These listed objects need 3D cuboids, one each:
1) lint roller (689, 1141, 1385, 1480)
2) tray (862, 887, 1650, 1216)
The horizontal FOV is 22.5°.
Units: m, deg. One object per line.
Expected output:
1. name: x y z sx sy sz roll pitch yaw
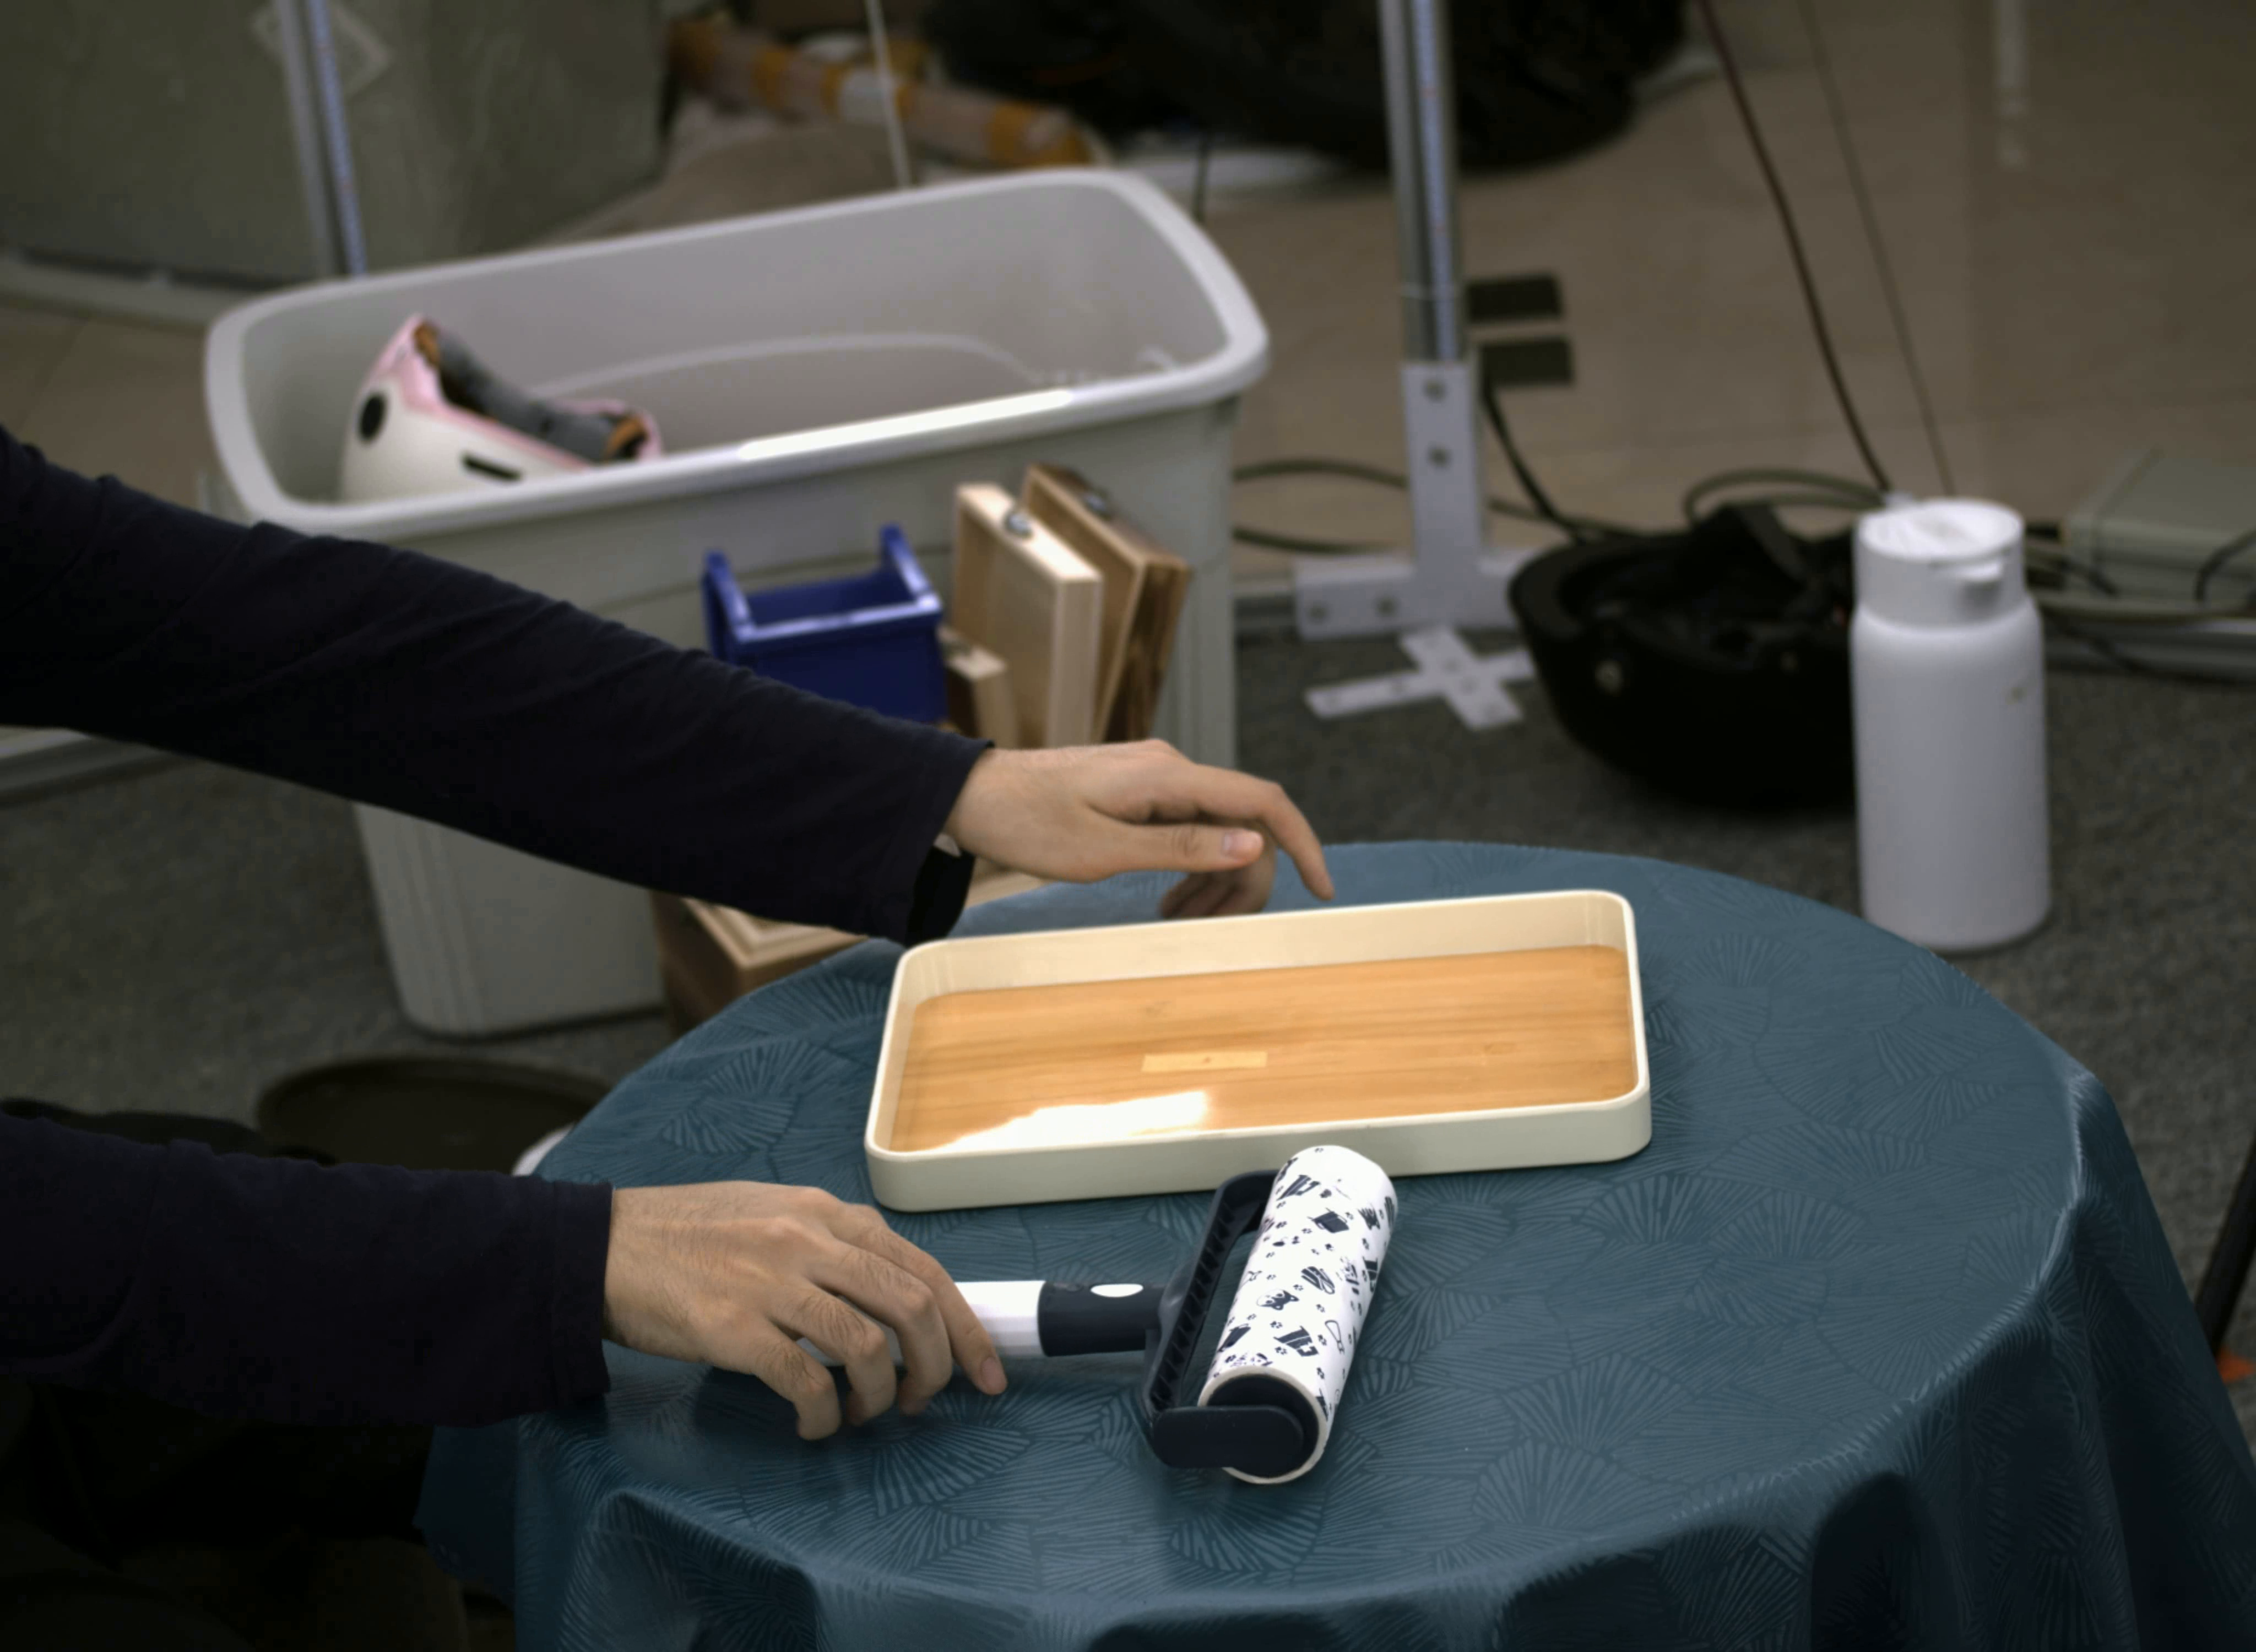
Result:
1. lint roller: -0.040 0.176 2.031 0.246 0.051 0.174 -3 26 12
2. tray: 0.051 0.087 2.217 0.300 0.028 0.188 -4 27 5
